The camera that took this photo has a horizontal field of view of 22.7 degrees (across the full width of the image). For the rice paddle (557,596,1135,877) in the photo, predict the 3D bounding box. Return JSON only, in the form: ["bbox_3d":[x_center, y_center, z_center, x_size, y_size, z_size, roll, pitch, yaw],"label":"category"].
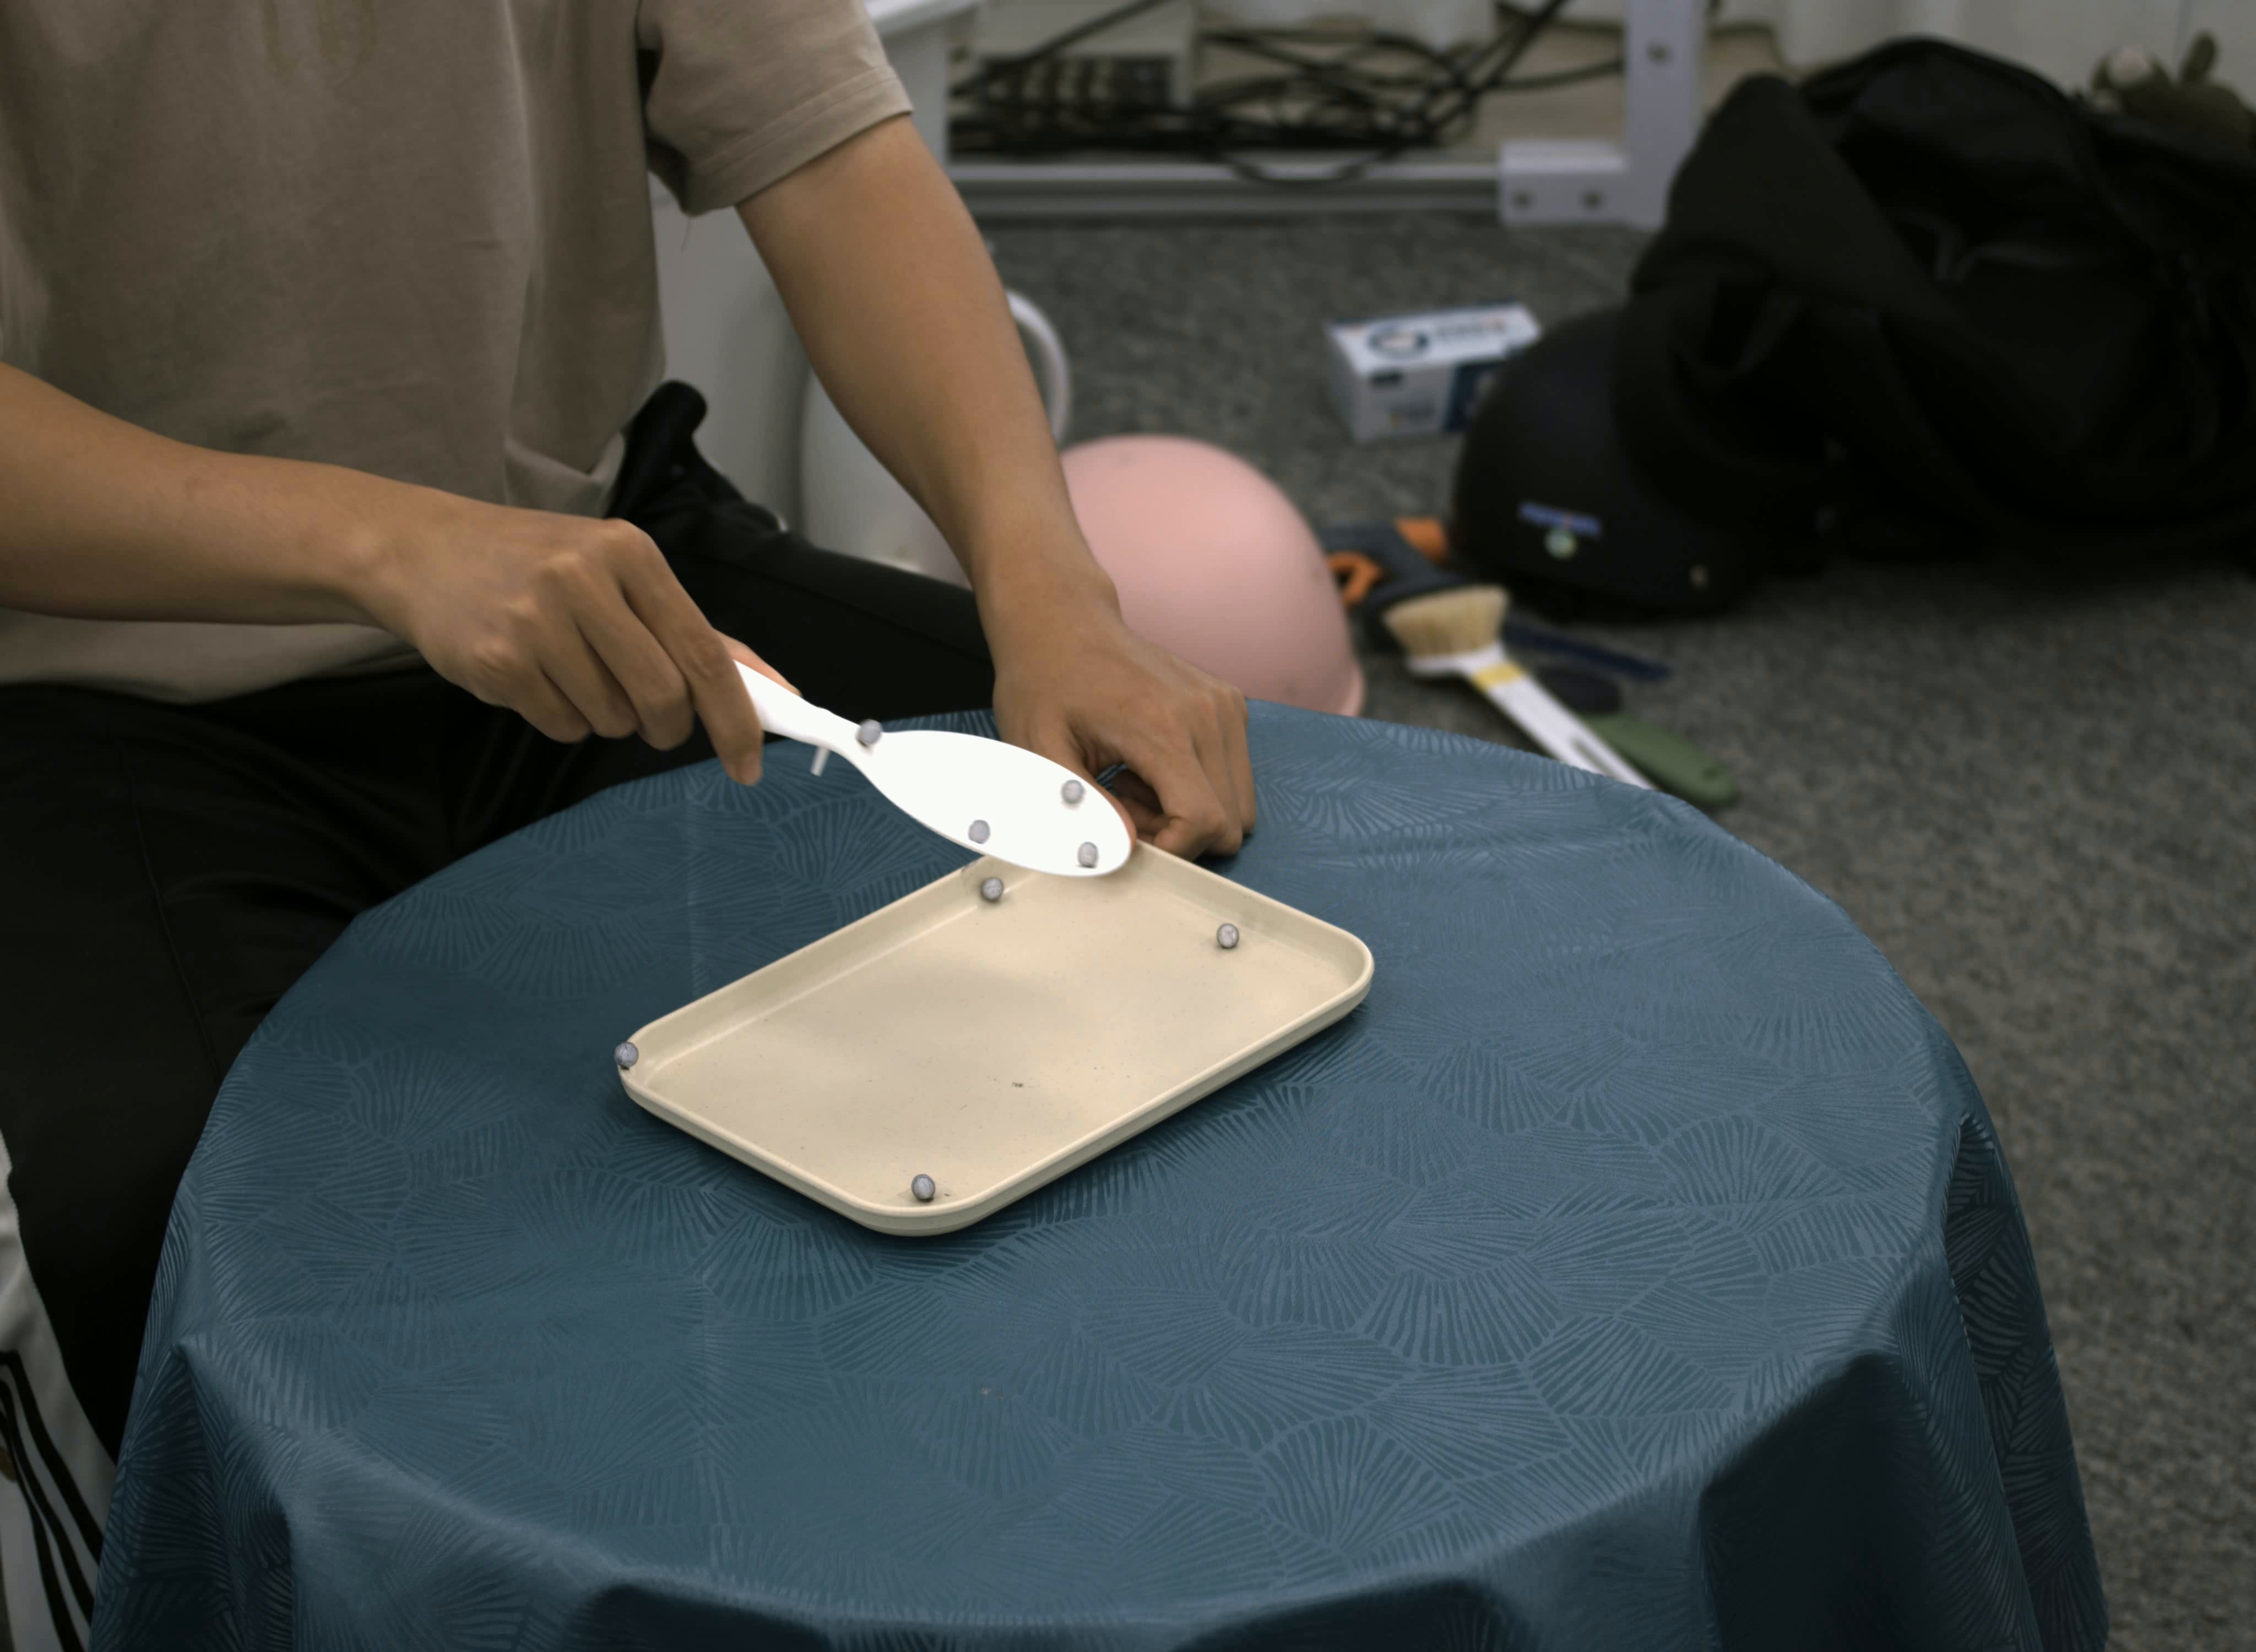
[{"bbox_3d":[-0.092,-0.029,1.905,0.204,0.029,0.070,21,33,-1],"label":"rice paddle"}]

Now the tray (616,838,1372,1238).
[{"bbox_3d":[-0.045,0.071,1.944,0.171,0.017,0.242,24,37,39],"label":"tray"}]
